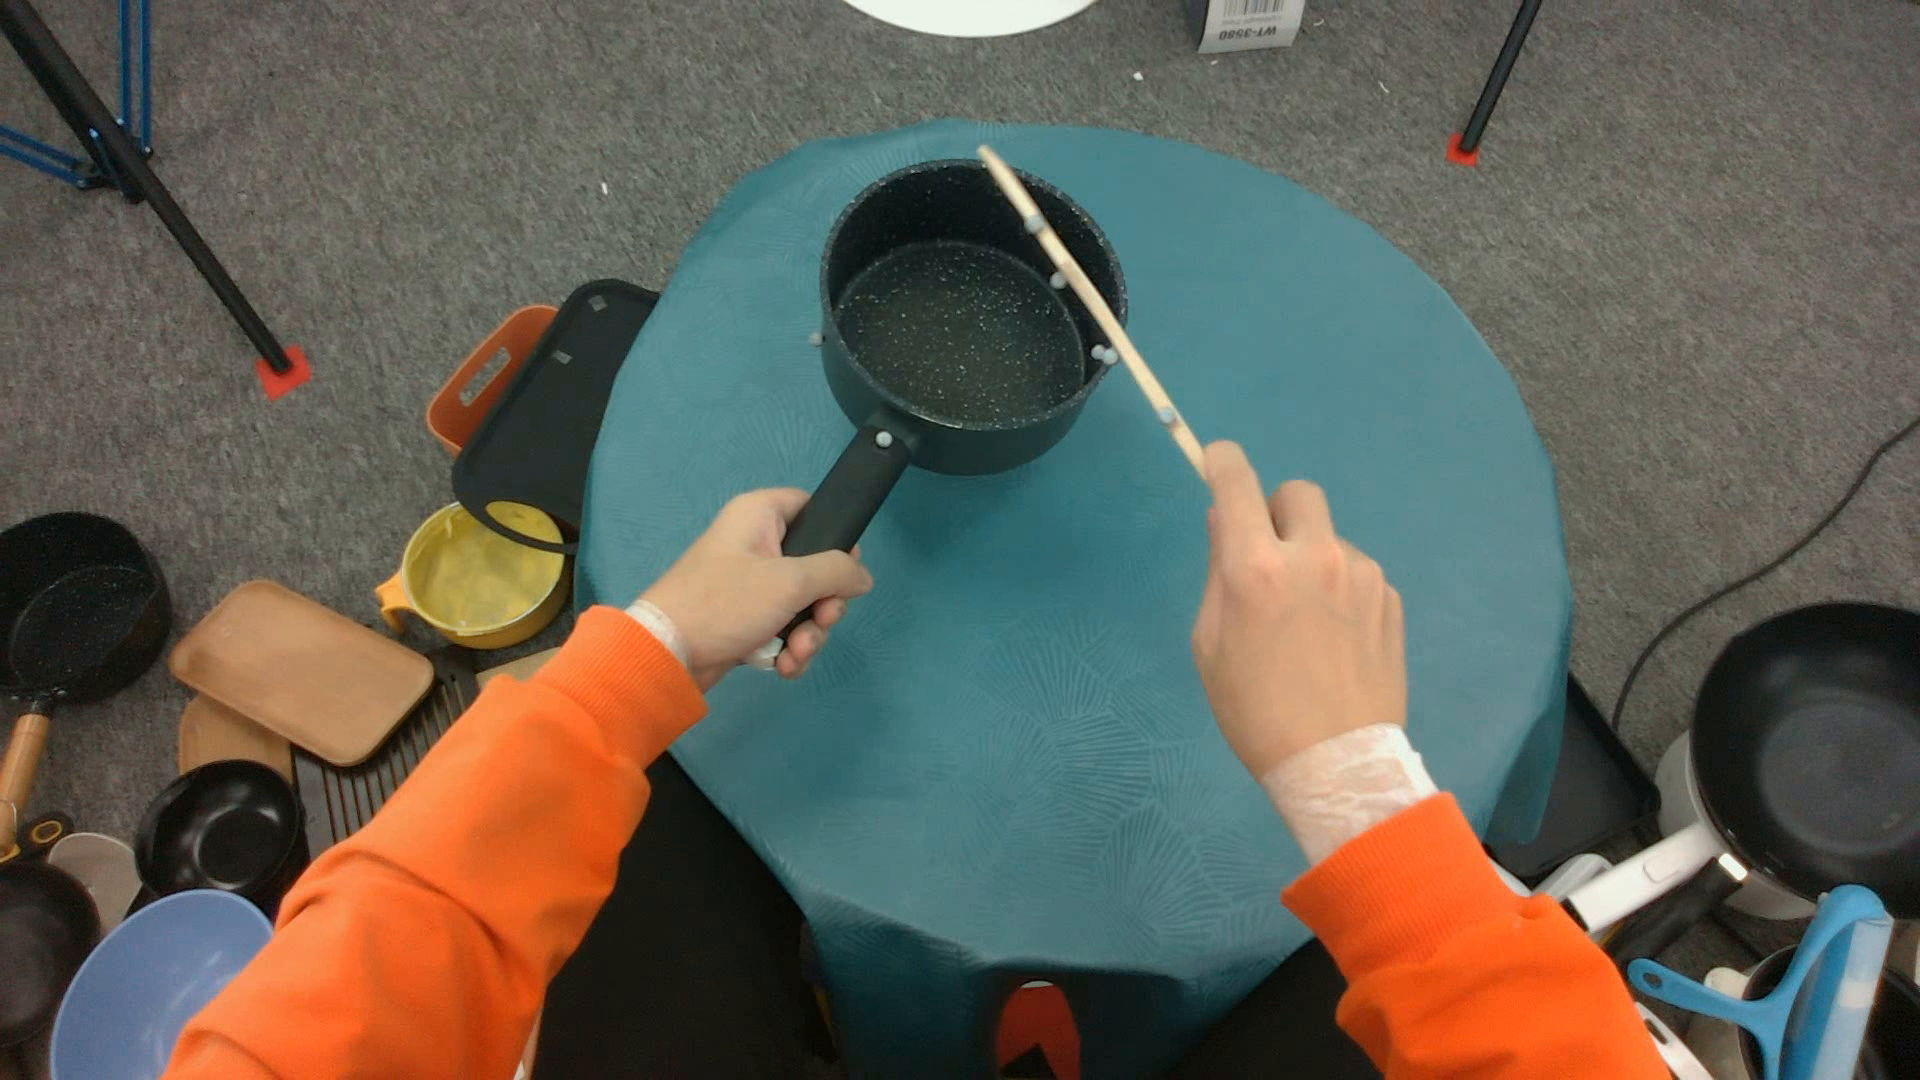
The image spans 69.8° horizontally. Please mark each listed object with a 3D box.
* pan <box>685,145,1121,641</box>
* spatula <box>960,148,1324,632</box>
[{"bbox_3d":[-0.039,-0.071,0.748,0.172,0.086,0.330,31,65,5],"label":"pan"},{"bbox_3d":[0.083,-0.076,0.642,0.010,0.072,0.293,-37,64,12],"label":"spatula"}]
